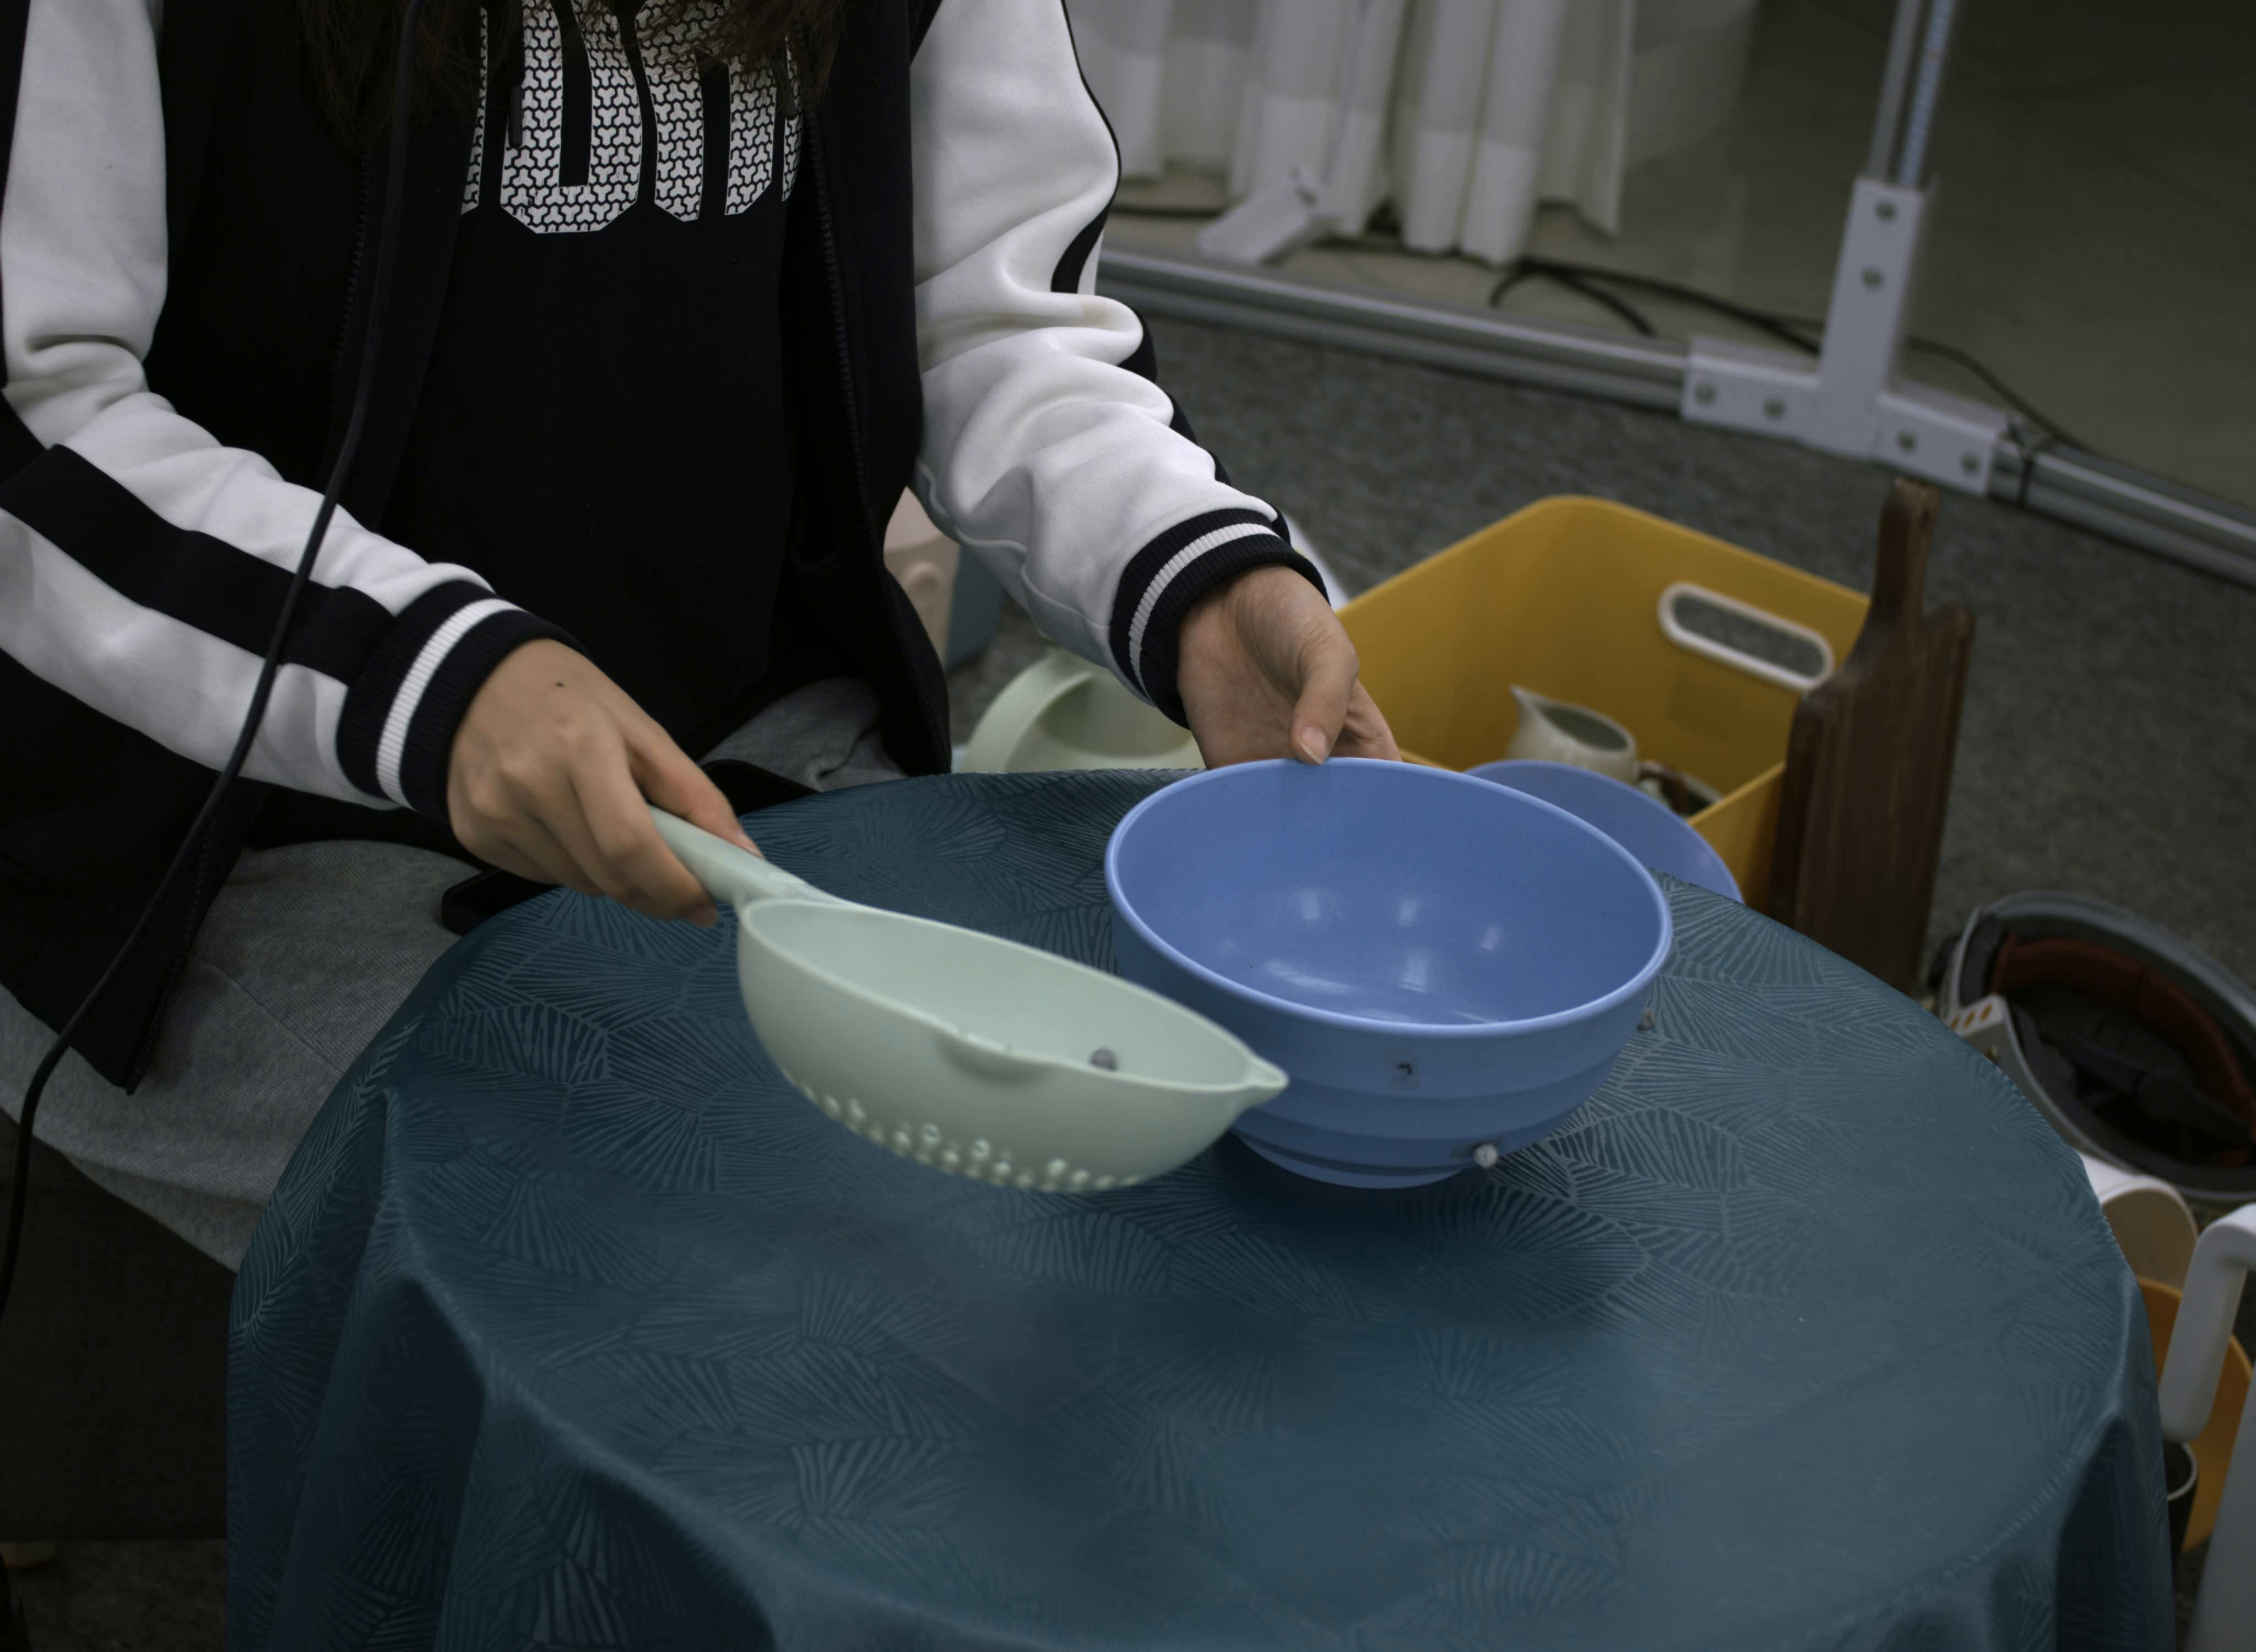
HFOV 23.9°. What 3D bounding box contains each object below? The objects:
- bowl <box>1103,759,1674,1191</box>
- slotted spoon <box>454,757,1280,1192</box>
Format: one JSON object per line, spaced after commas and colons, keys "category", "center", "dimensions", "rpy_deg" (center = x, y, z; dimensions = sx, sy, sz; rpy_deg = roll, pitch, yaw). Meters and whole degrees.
{"category": "bowl", "center": [0.084, 0.062, 1.837], "dimensions": [0.196, 0.095, 0.197], "rpy_deg": [5, 27, -3]}
{"category": "slotted spoon", "center": [-0.109, 0.033, 1.713], "dimensions": [0.168, 0.075, 0.362], "rpy_deg": [14, 15, -45]}
